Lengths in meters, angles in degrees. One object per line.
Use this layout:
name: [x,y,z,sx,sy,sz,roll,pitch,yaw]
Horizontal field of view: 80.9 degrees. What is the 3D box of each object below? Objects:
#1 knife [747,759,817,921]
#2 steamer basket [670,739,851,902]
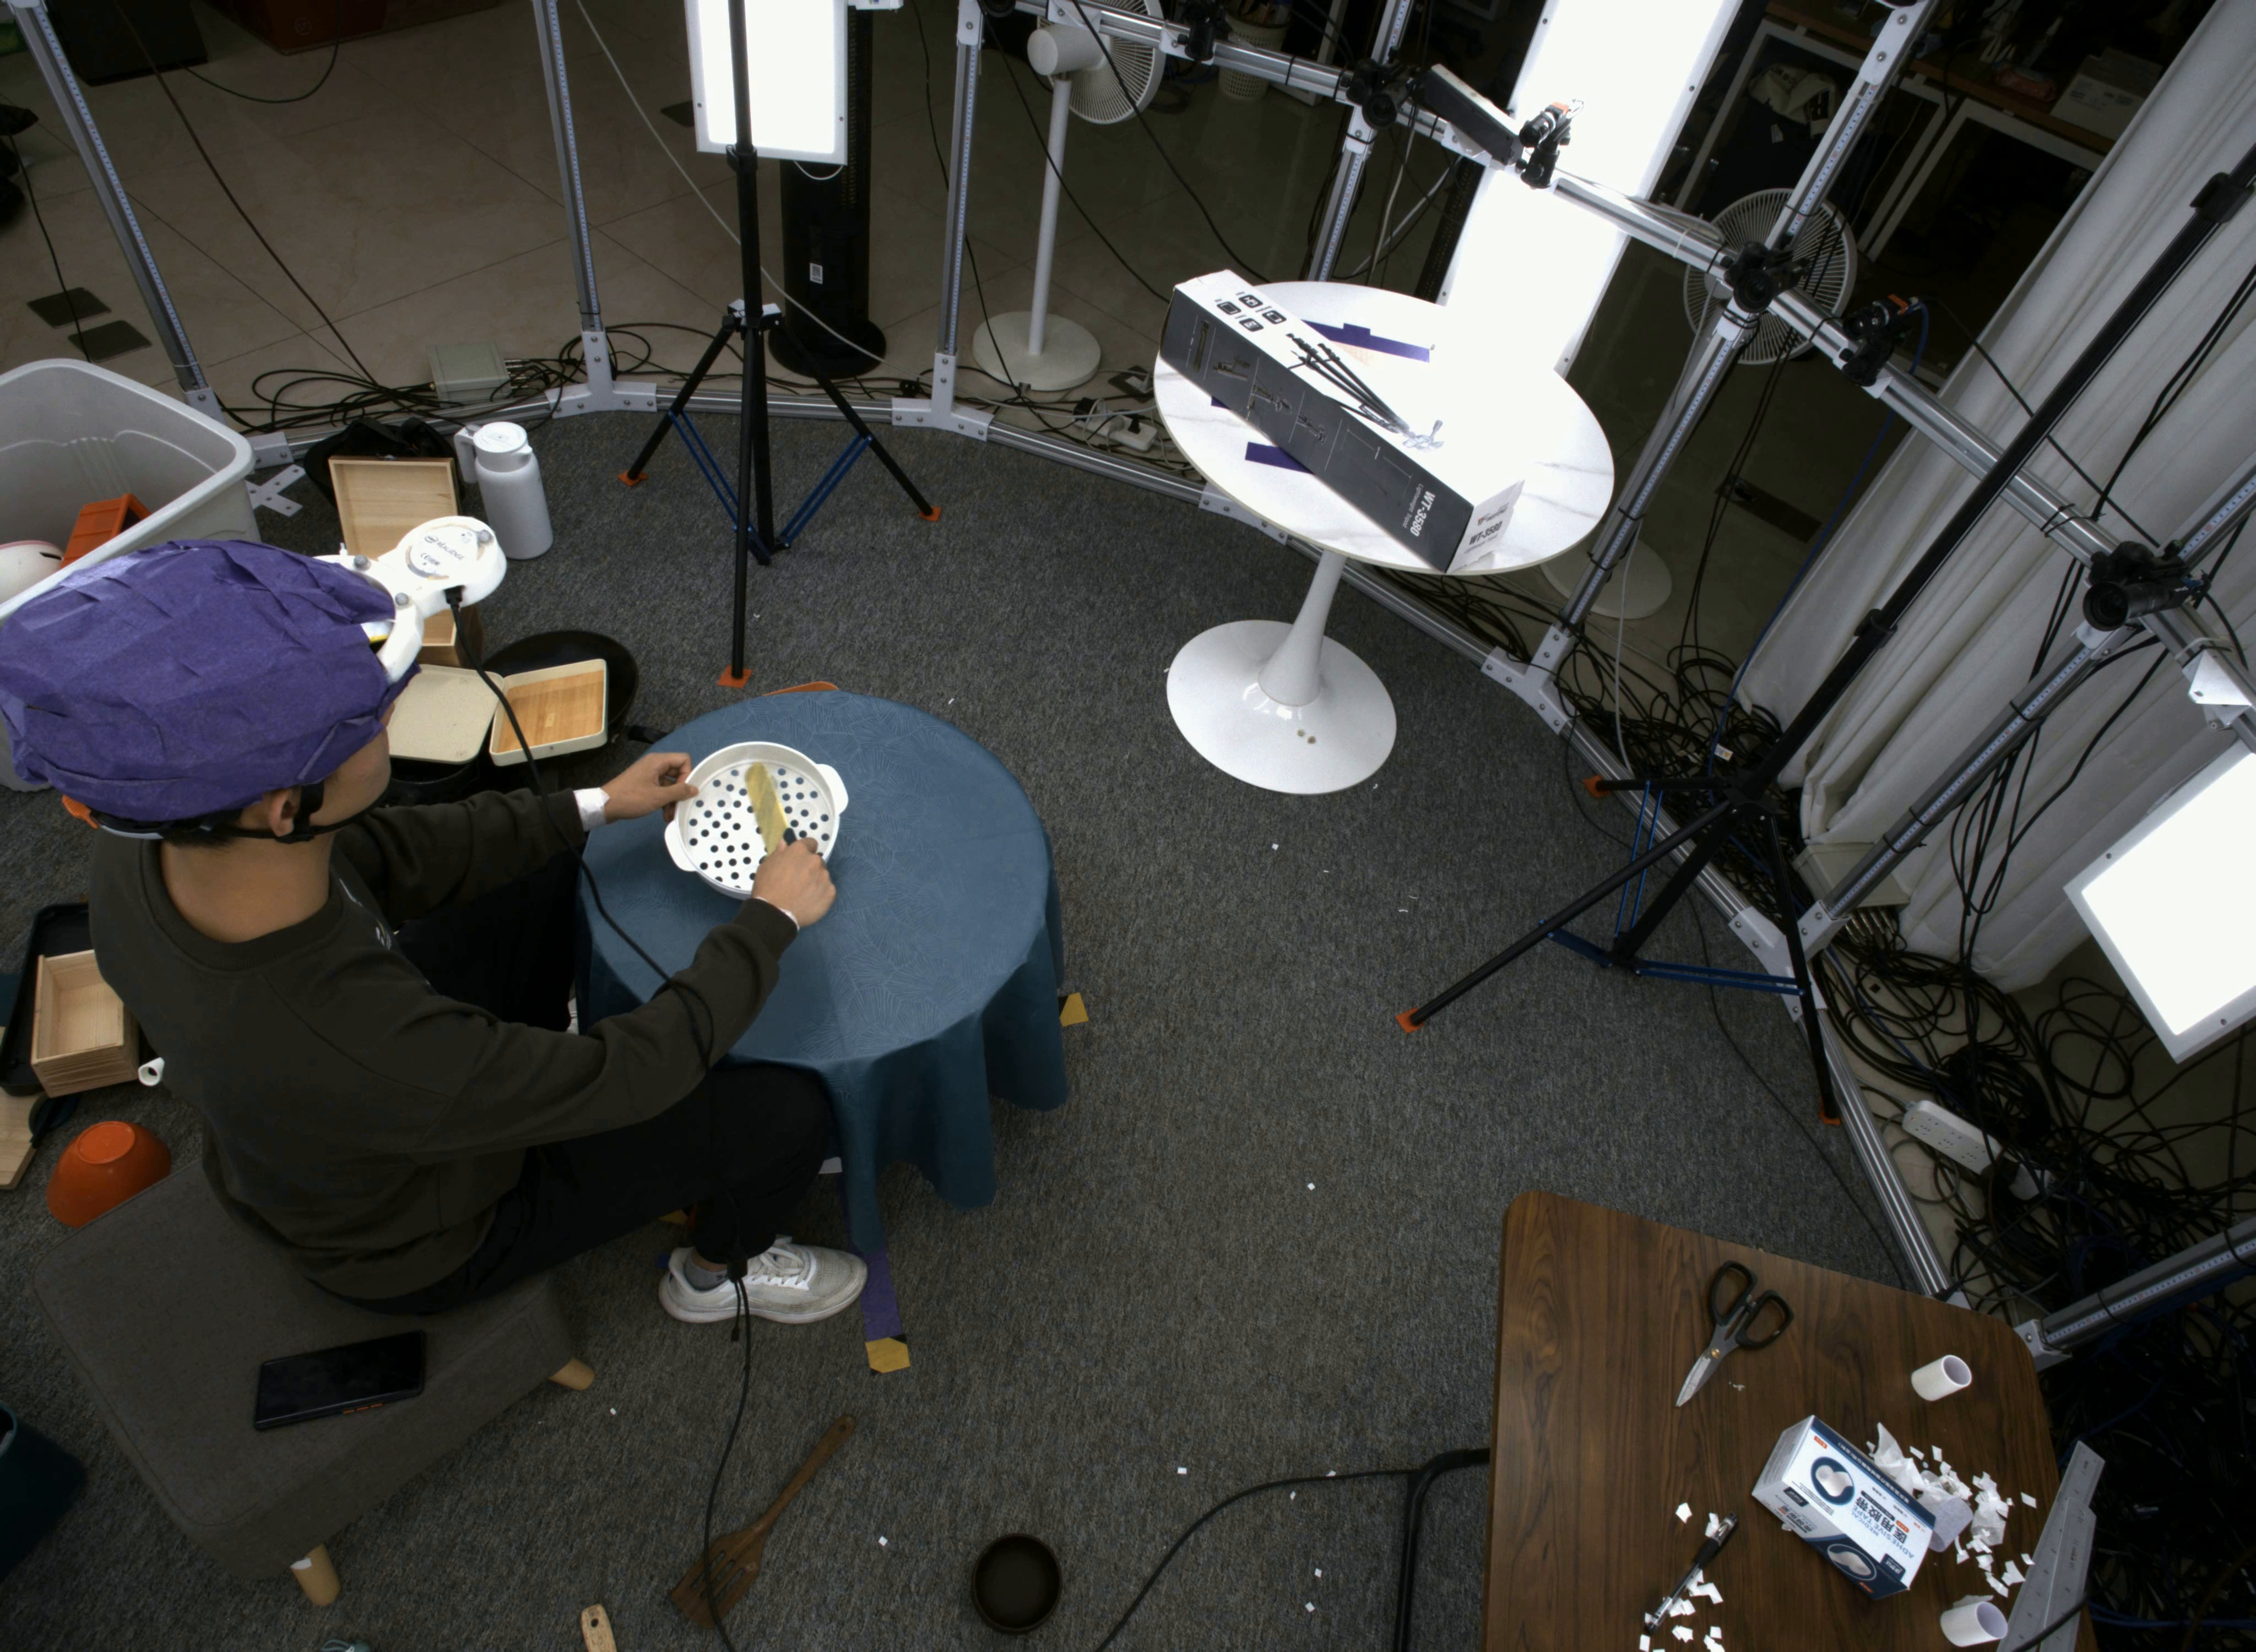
knife: [-0.432,0.018,1.591,0.027,0.082,0.280,-3,44,-33]
steamer basket: [-0.465,-0.006,1.653,0.231,0.069,0.201,-24,81,-18]
